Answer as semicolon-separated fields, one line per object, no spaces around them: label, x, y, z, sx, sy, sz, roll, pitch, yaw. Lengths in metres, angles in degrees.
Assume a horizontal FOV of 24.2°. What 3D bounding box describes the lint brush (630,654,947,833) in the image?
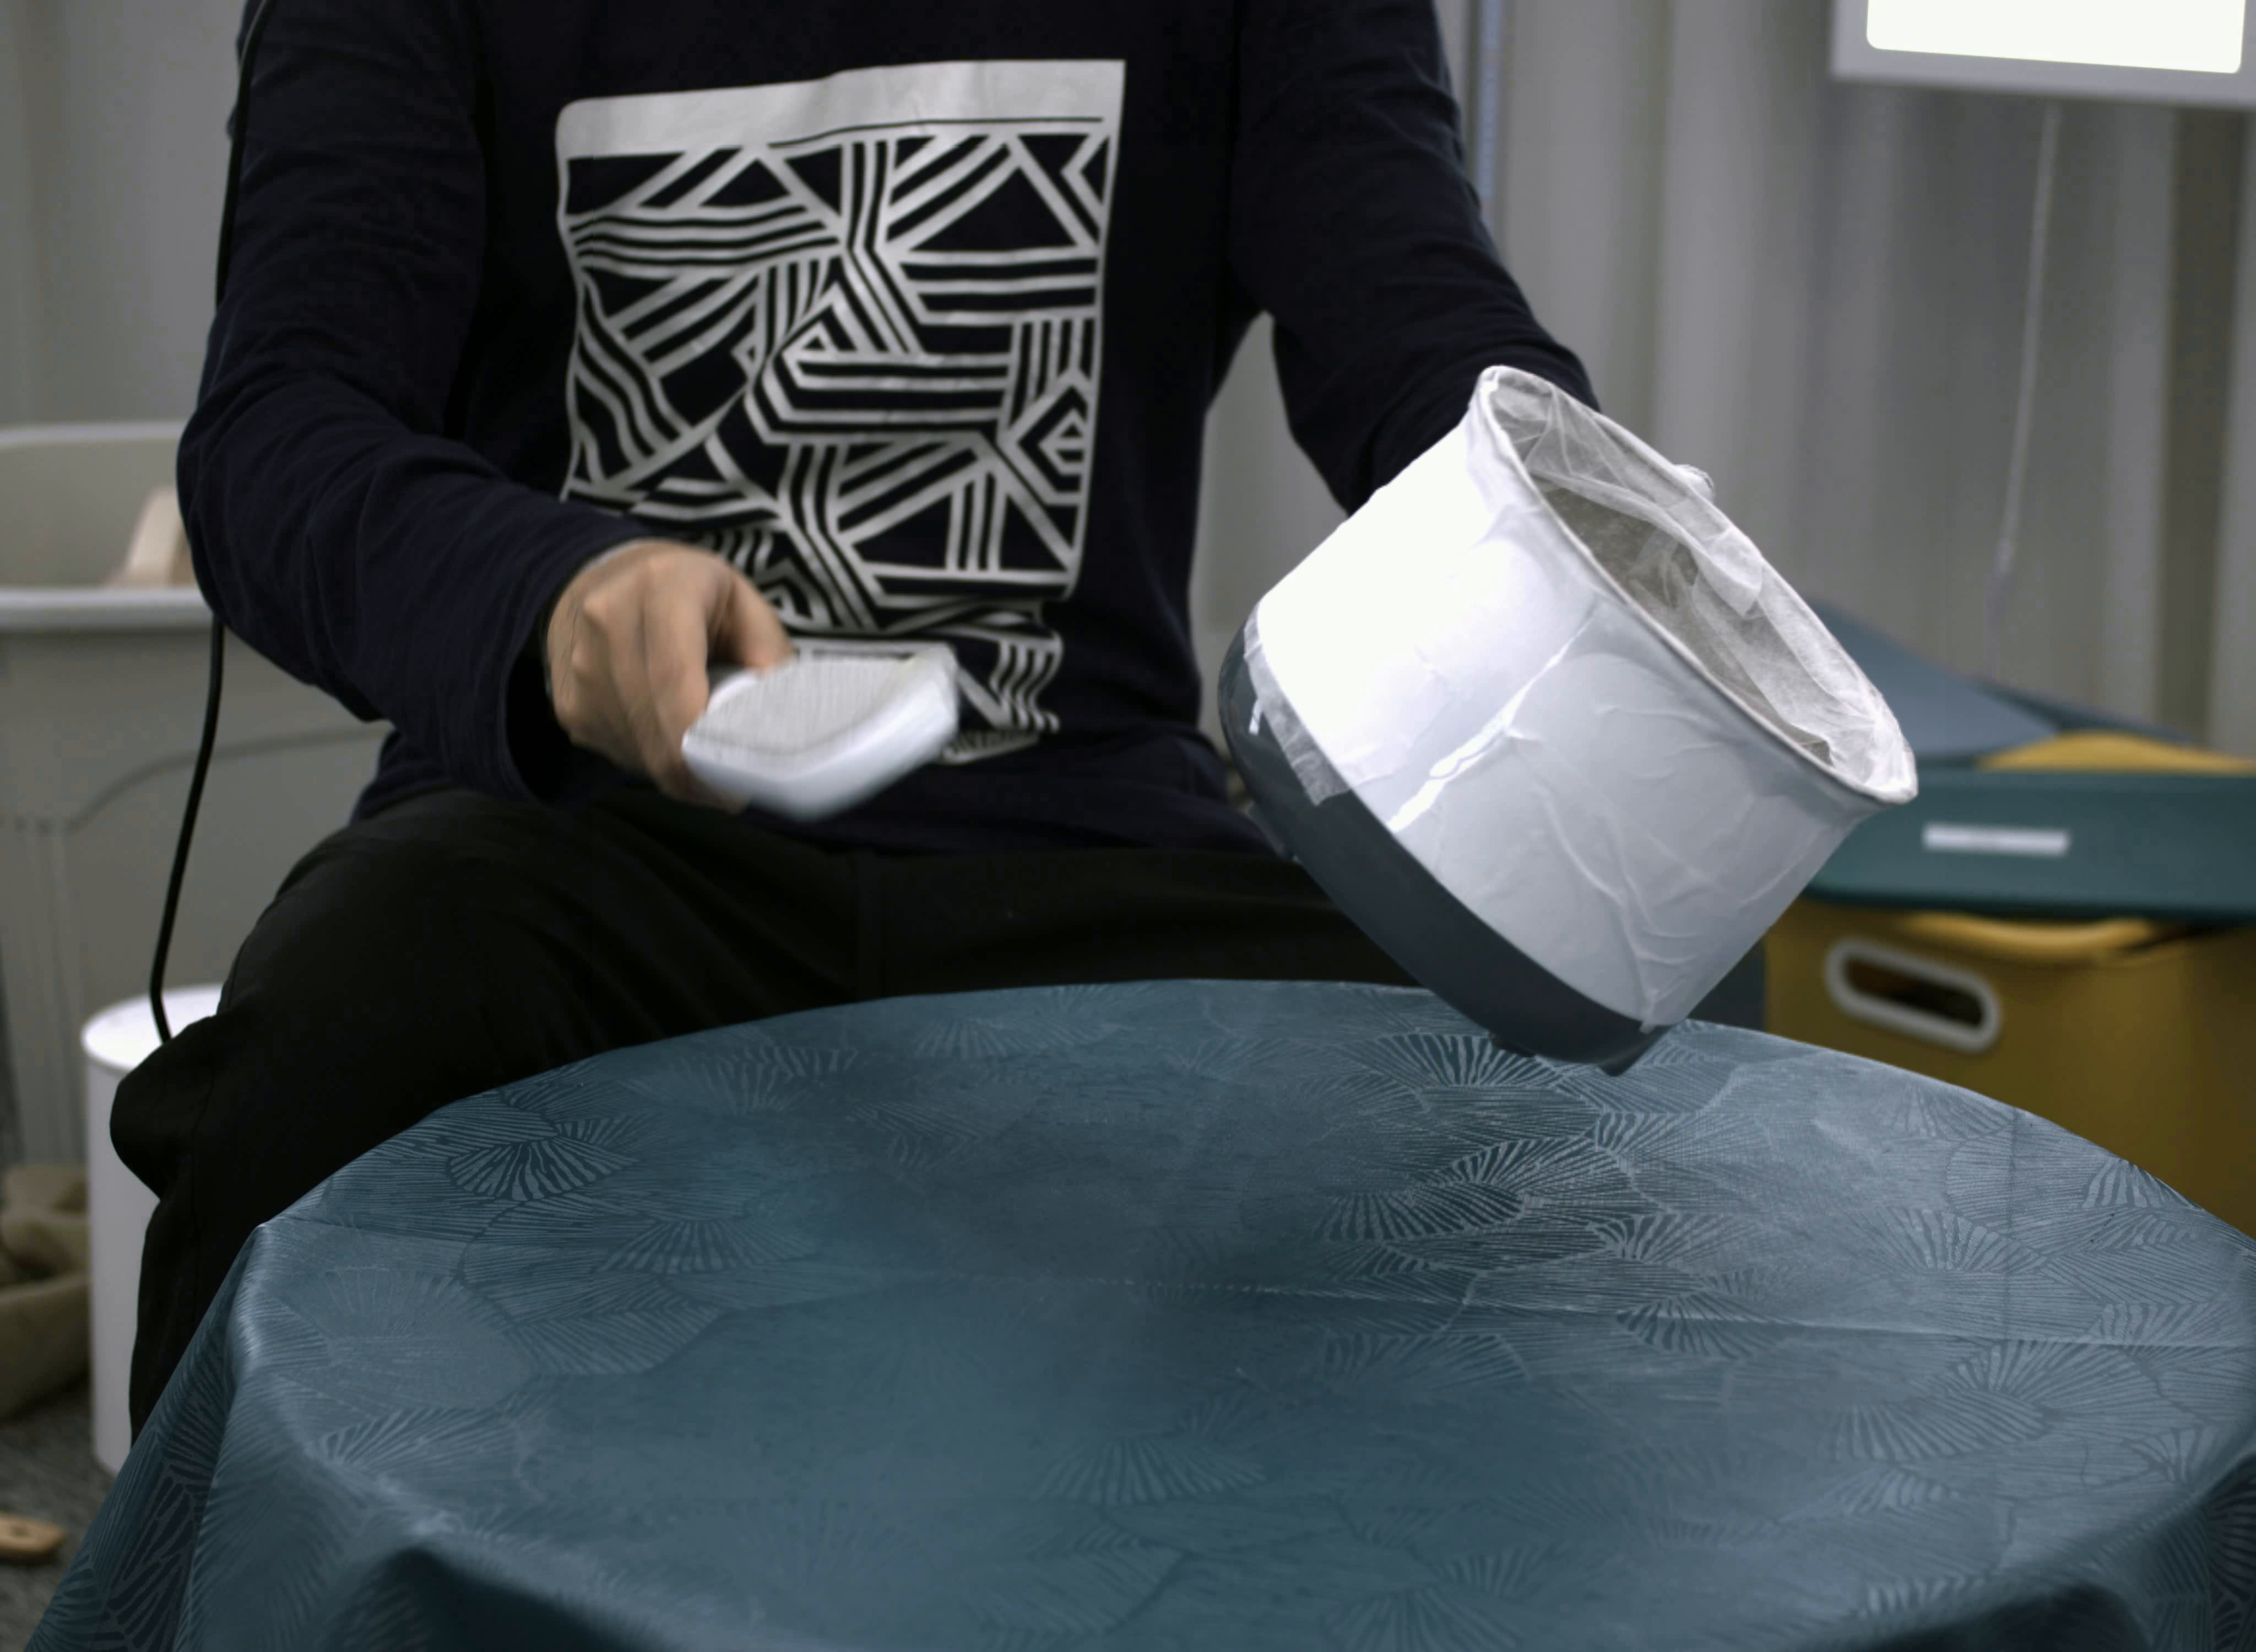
lint brush;-0.110;-0.030;1.595;0.060;0.021;0.306;-36;14;-10

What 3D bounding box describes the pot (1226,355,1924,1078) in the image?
pot;0.129;-0.039;1.572;0.179;0.136;0.232;44;18;-11
